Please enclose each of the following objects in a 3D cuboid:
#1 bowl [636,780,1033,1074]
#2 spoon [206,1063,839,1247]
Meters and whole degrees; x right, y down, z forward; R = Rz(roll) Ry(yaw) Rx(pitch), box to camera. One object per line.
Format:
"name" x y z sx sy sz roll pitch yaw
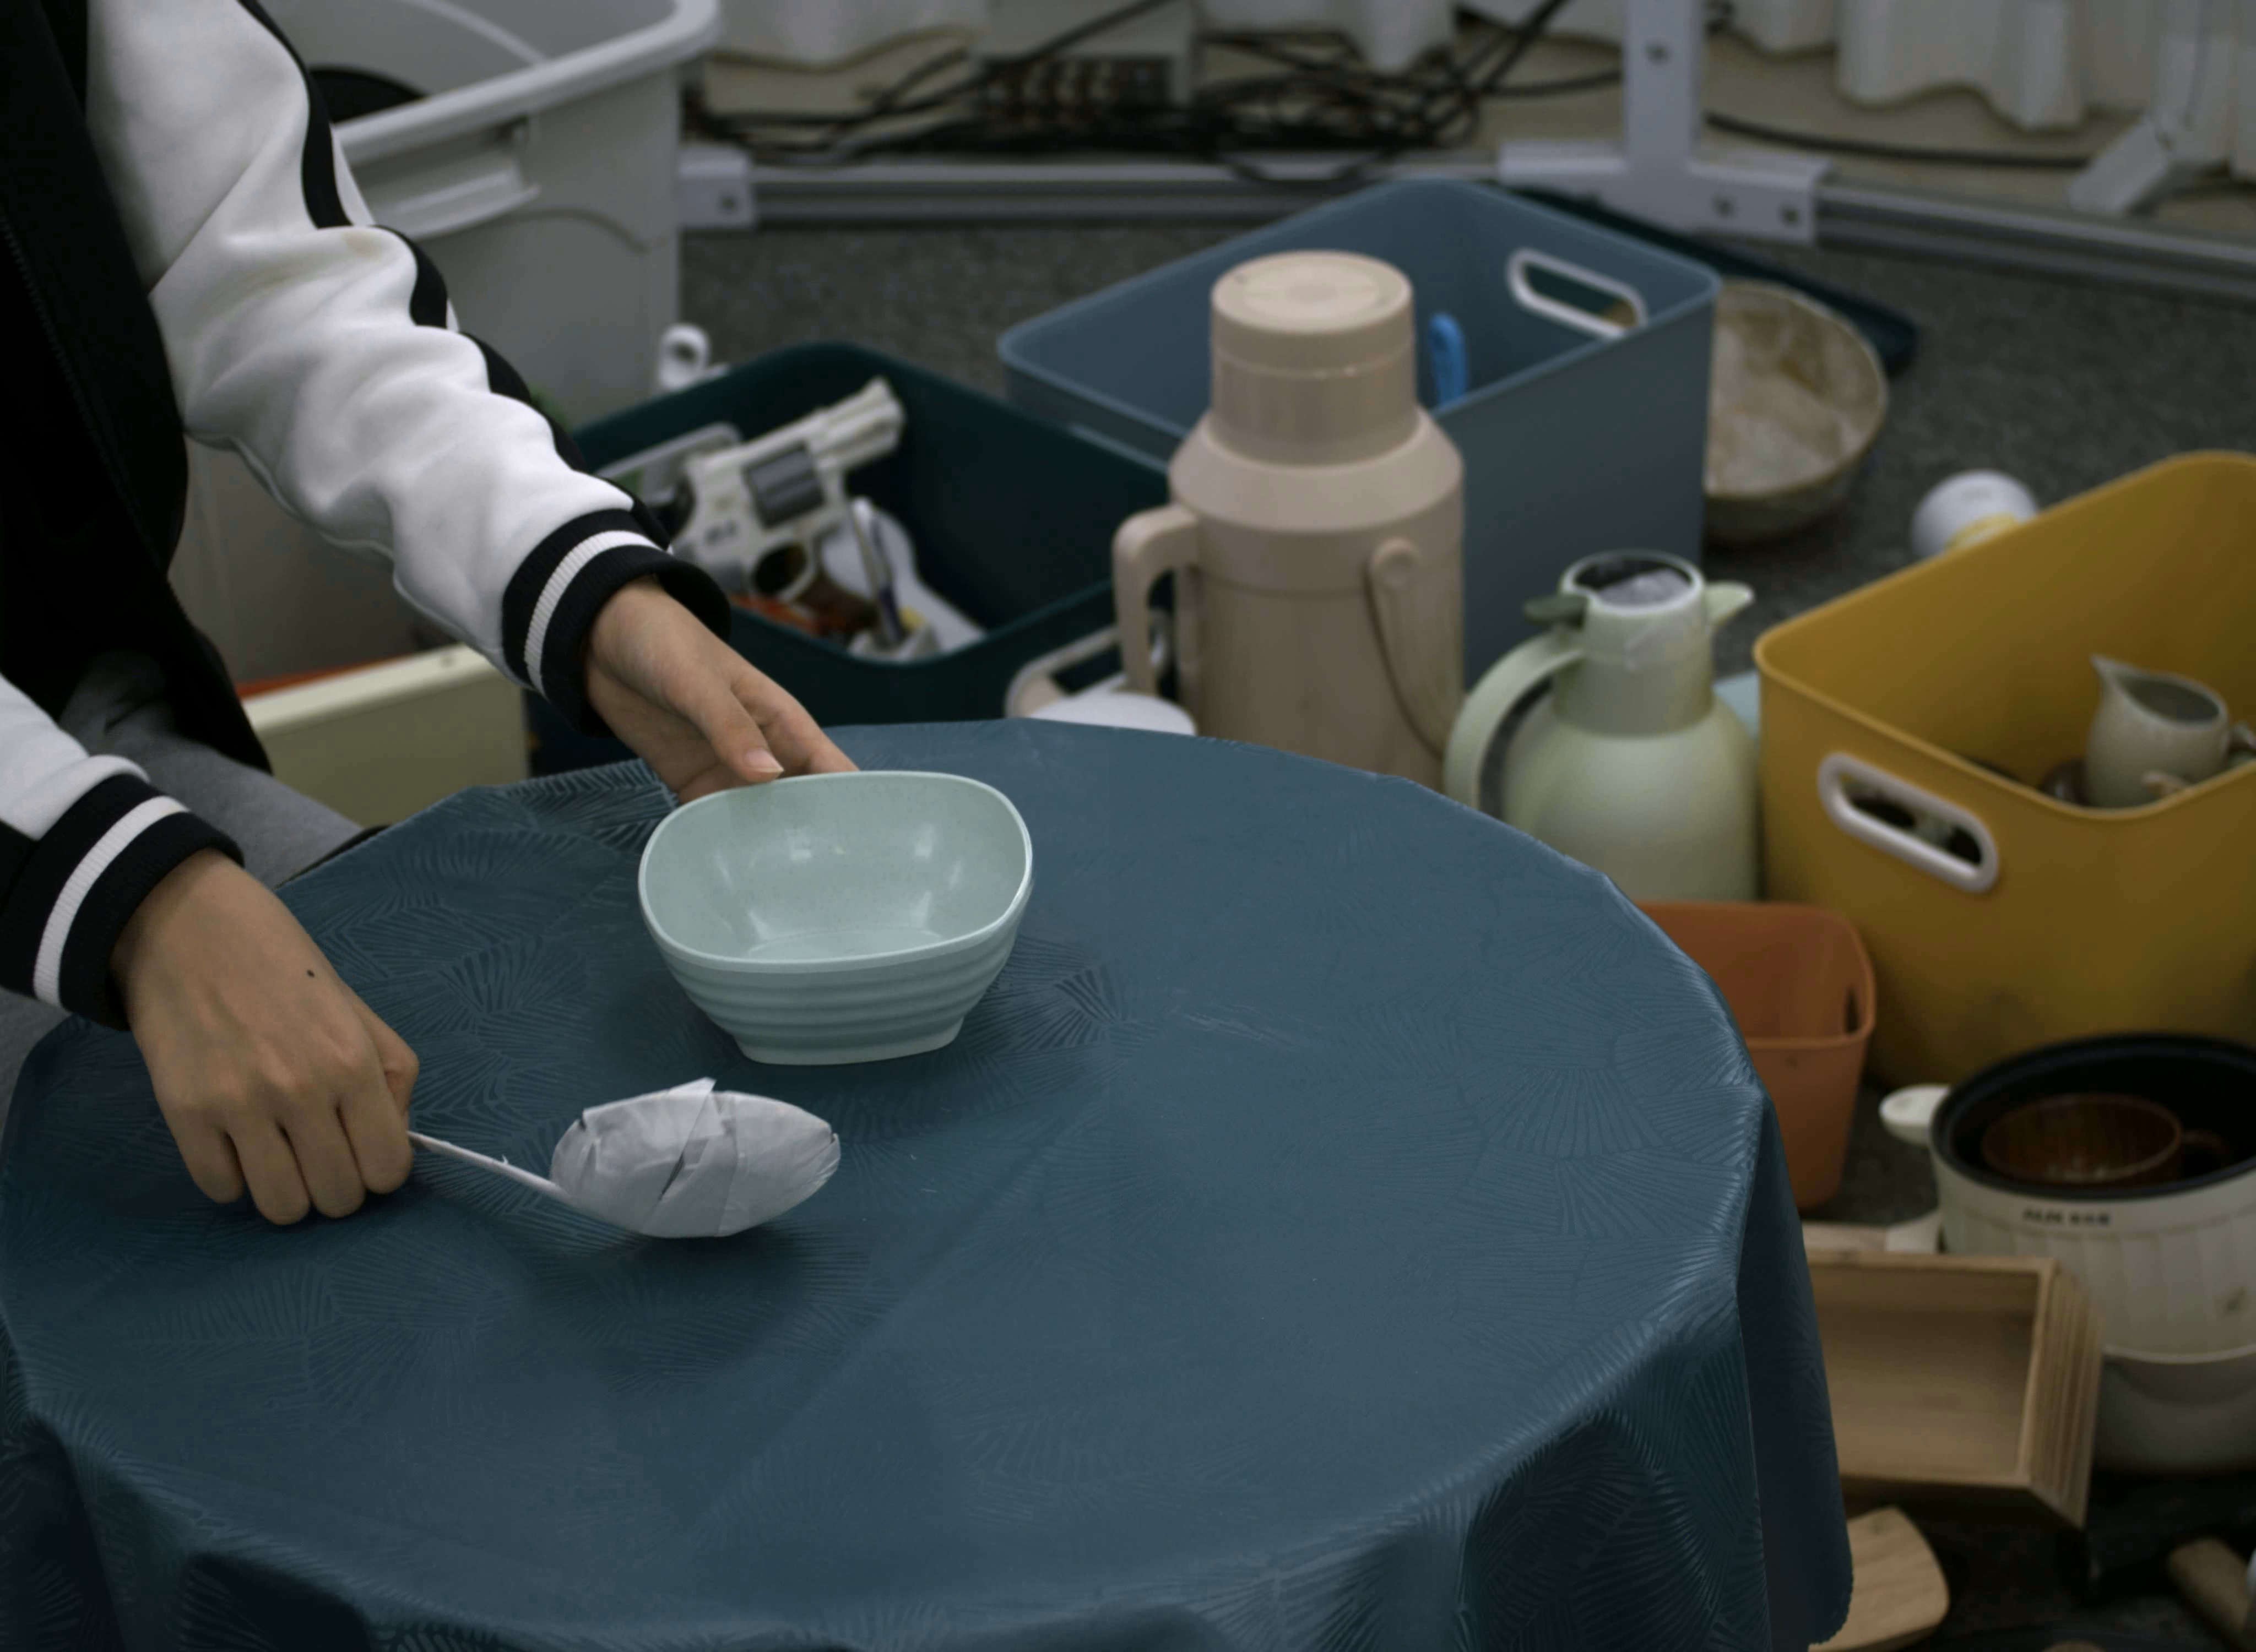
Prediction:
"bowl" -0.101 0.041 1.971 0.151 0.058 0.154 -2 27 2
"spoon" -0.209 0.093 1.886 0.276 0.100 0.060 14 70 43
